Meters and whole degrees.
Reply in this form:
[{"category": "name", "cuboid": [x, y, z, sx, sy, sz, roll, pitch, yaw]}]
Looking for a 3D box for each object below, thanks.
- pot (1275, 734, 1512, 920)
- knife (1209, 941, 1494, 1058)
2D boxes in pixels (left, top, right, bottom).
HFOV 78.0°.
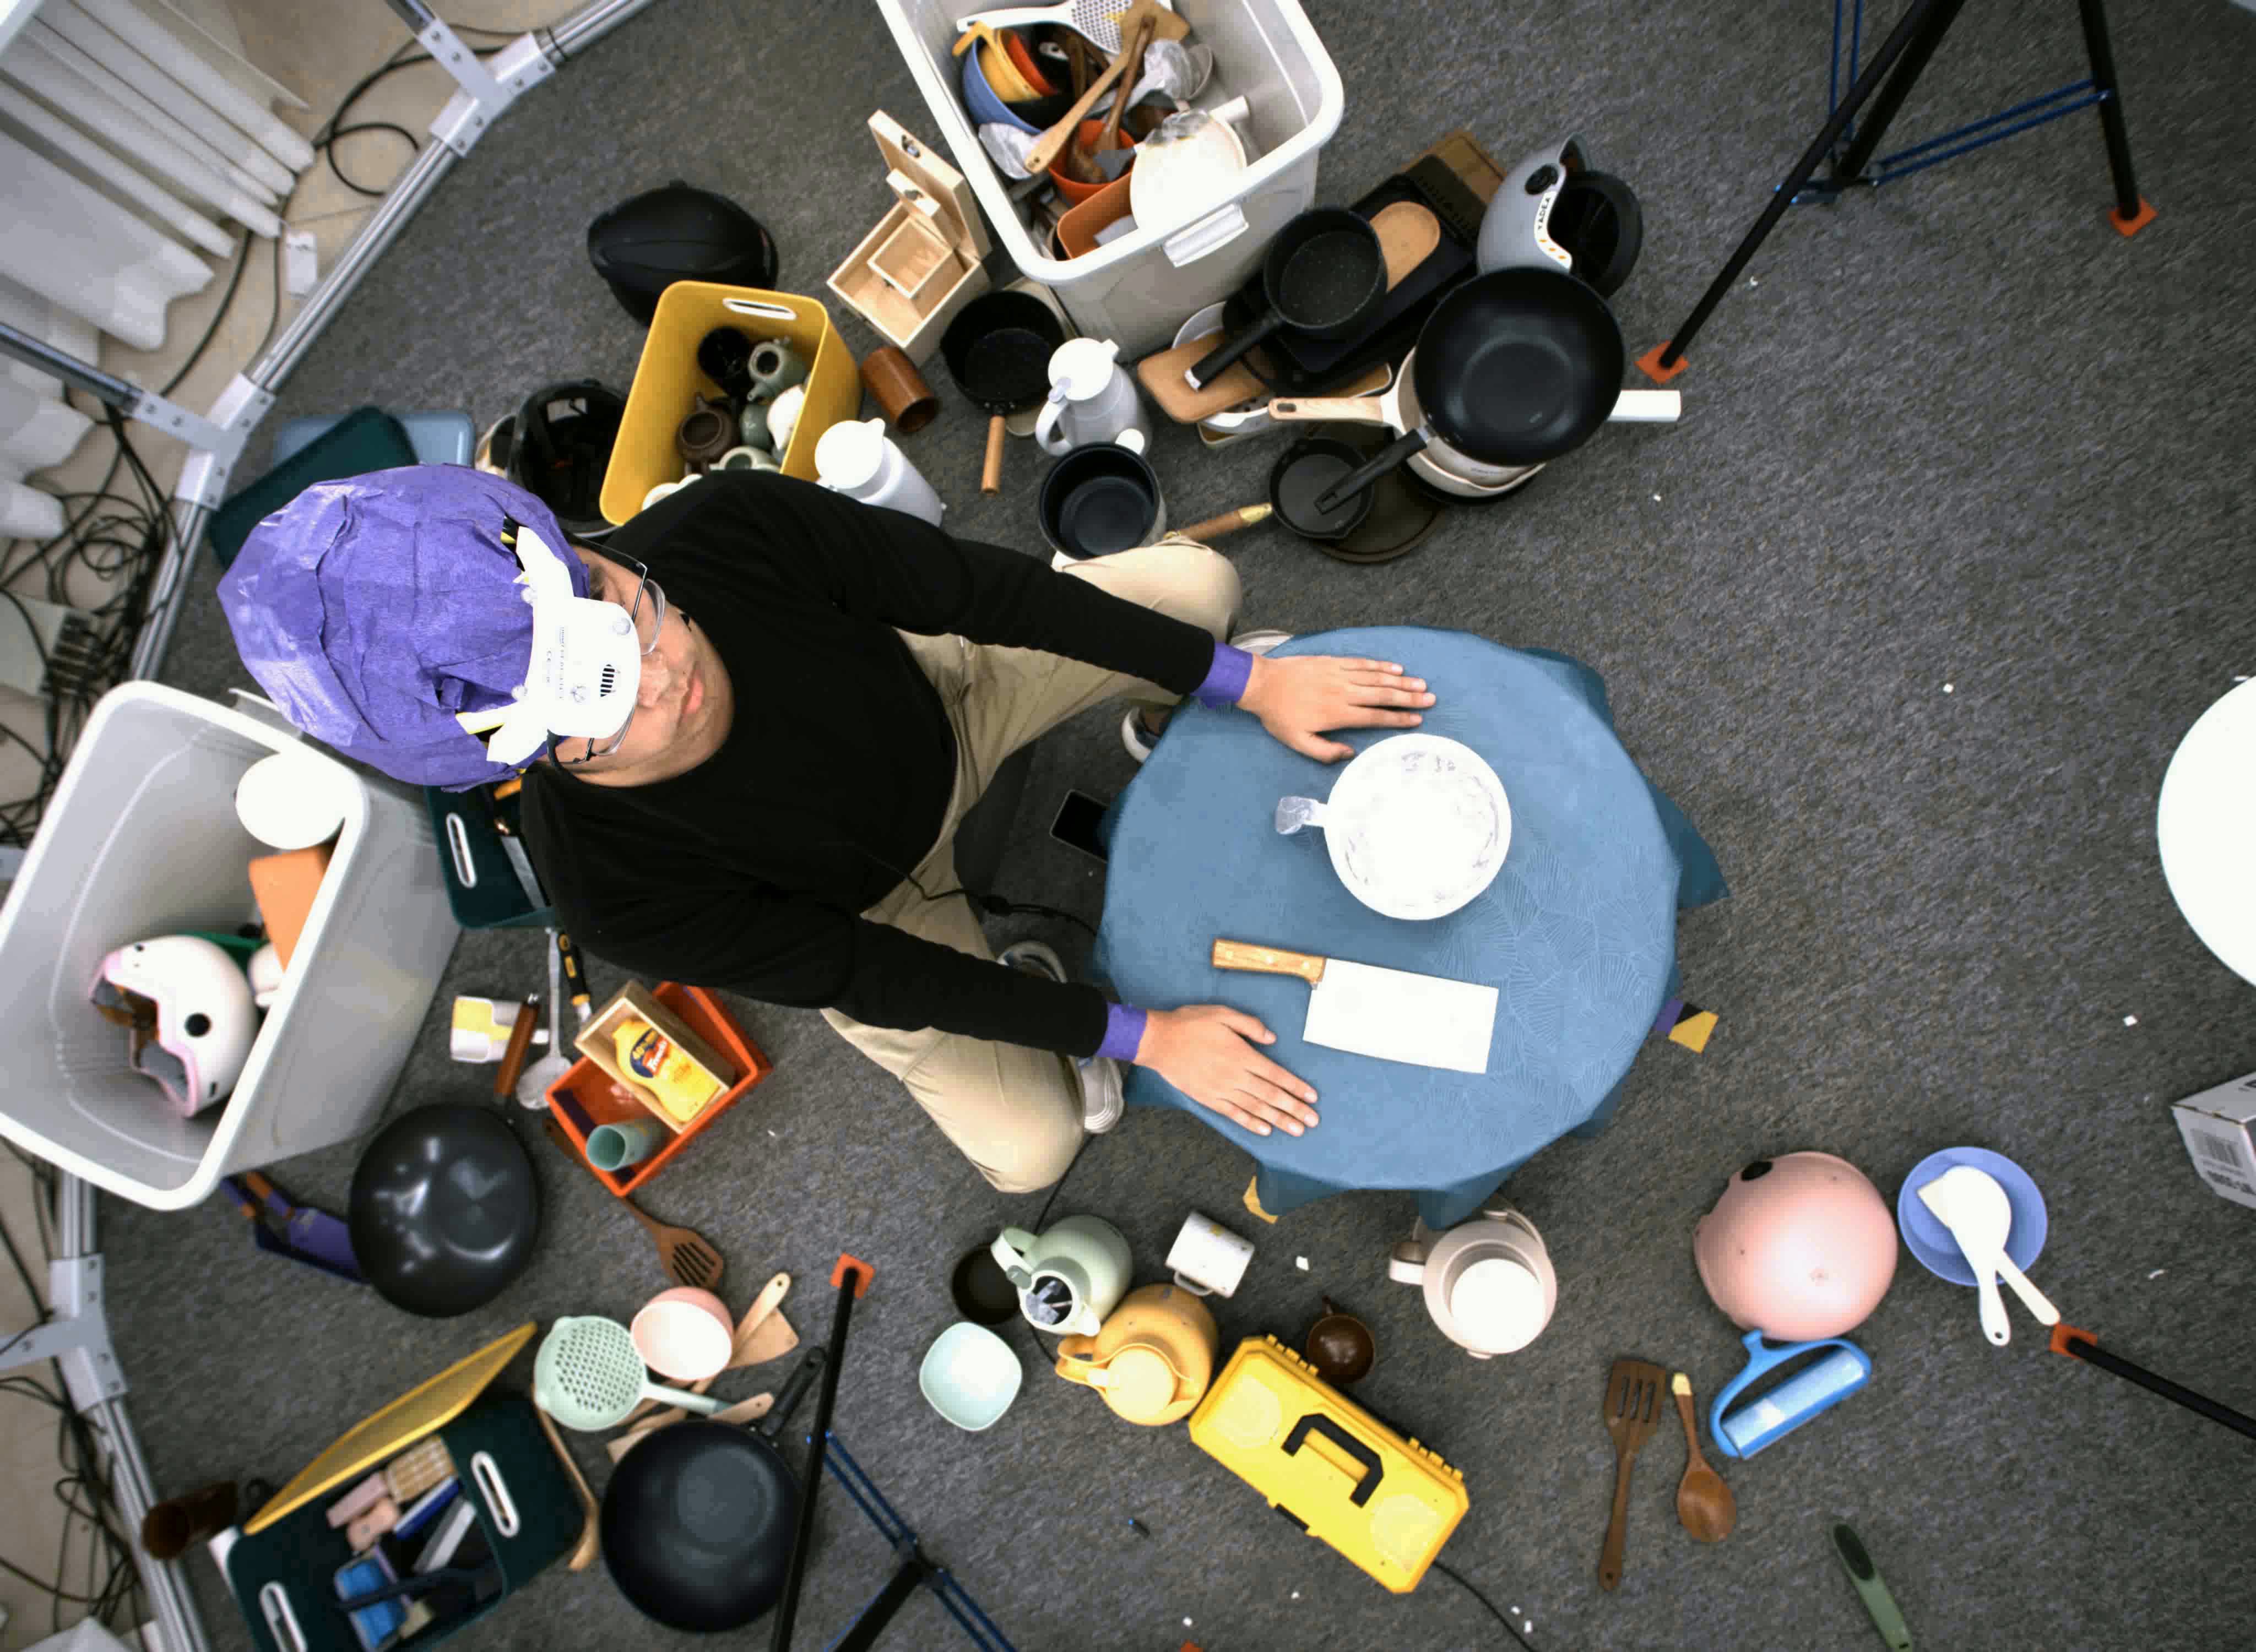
[{"category": "pot", "cuboid": [0.263, 0.001, 1.395, 0.234, 0.137, 0.178, 7, 87, 10]}, {"category": "knife", "cuboid": [0.230, 0.184, 1.457, 0.306, 0.021, 0.092, 10, 89, 9]}]
